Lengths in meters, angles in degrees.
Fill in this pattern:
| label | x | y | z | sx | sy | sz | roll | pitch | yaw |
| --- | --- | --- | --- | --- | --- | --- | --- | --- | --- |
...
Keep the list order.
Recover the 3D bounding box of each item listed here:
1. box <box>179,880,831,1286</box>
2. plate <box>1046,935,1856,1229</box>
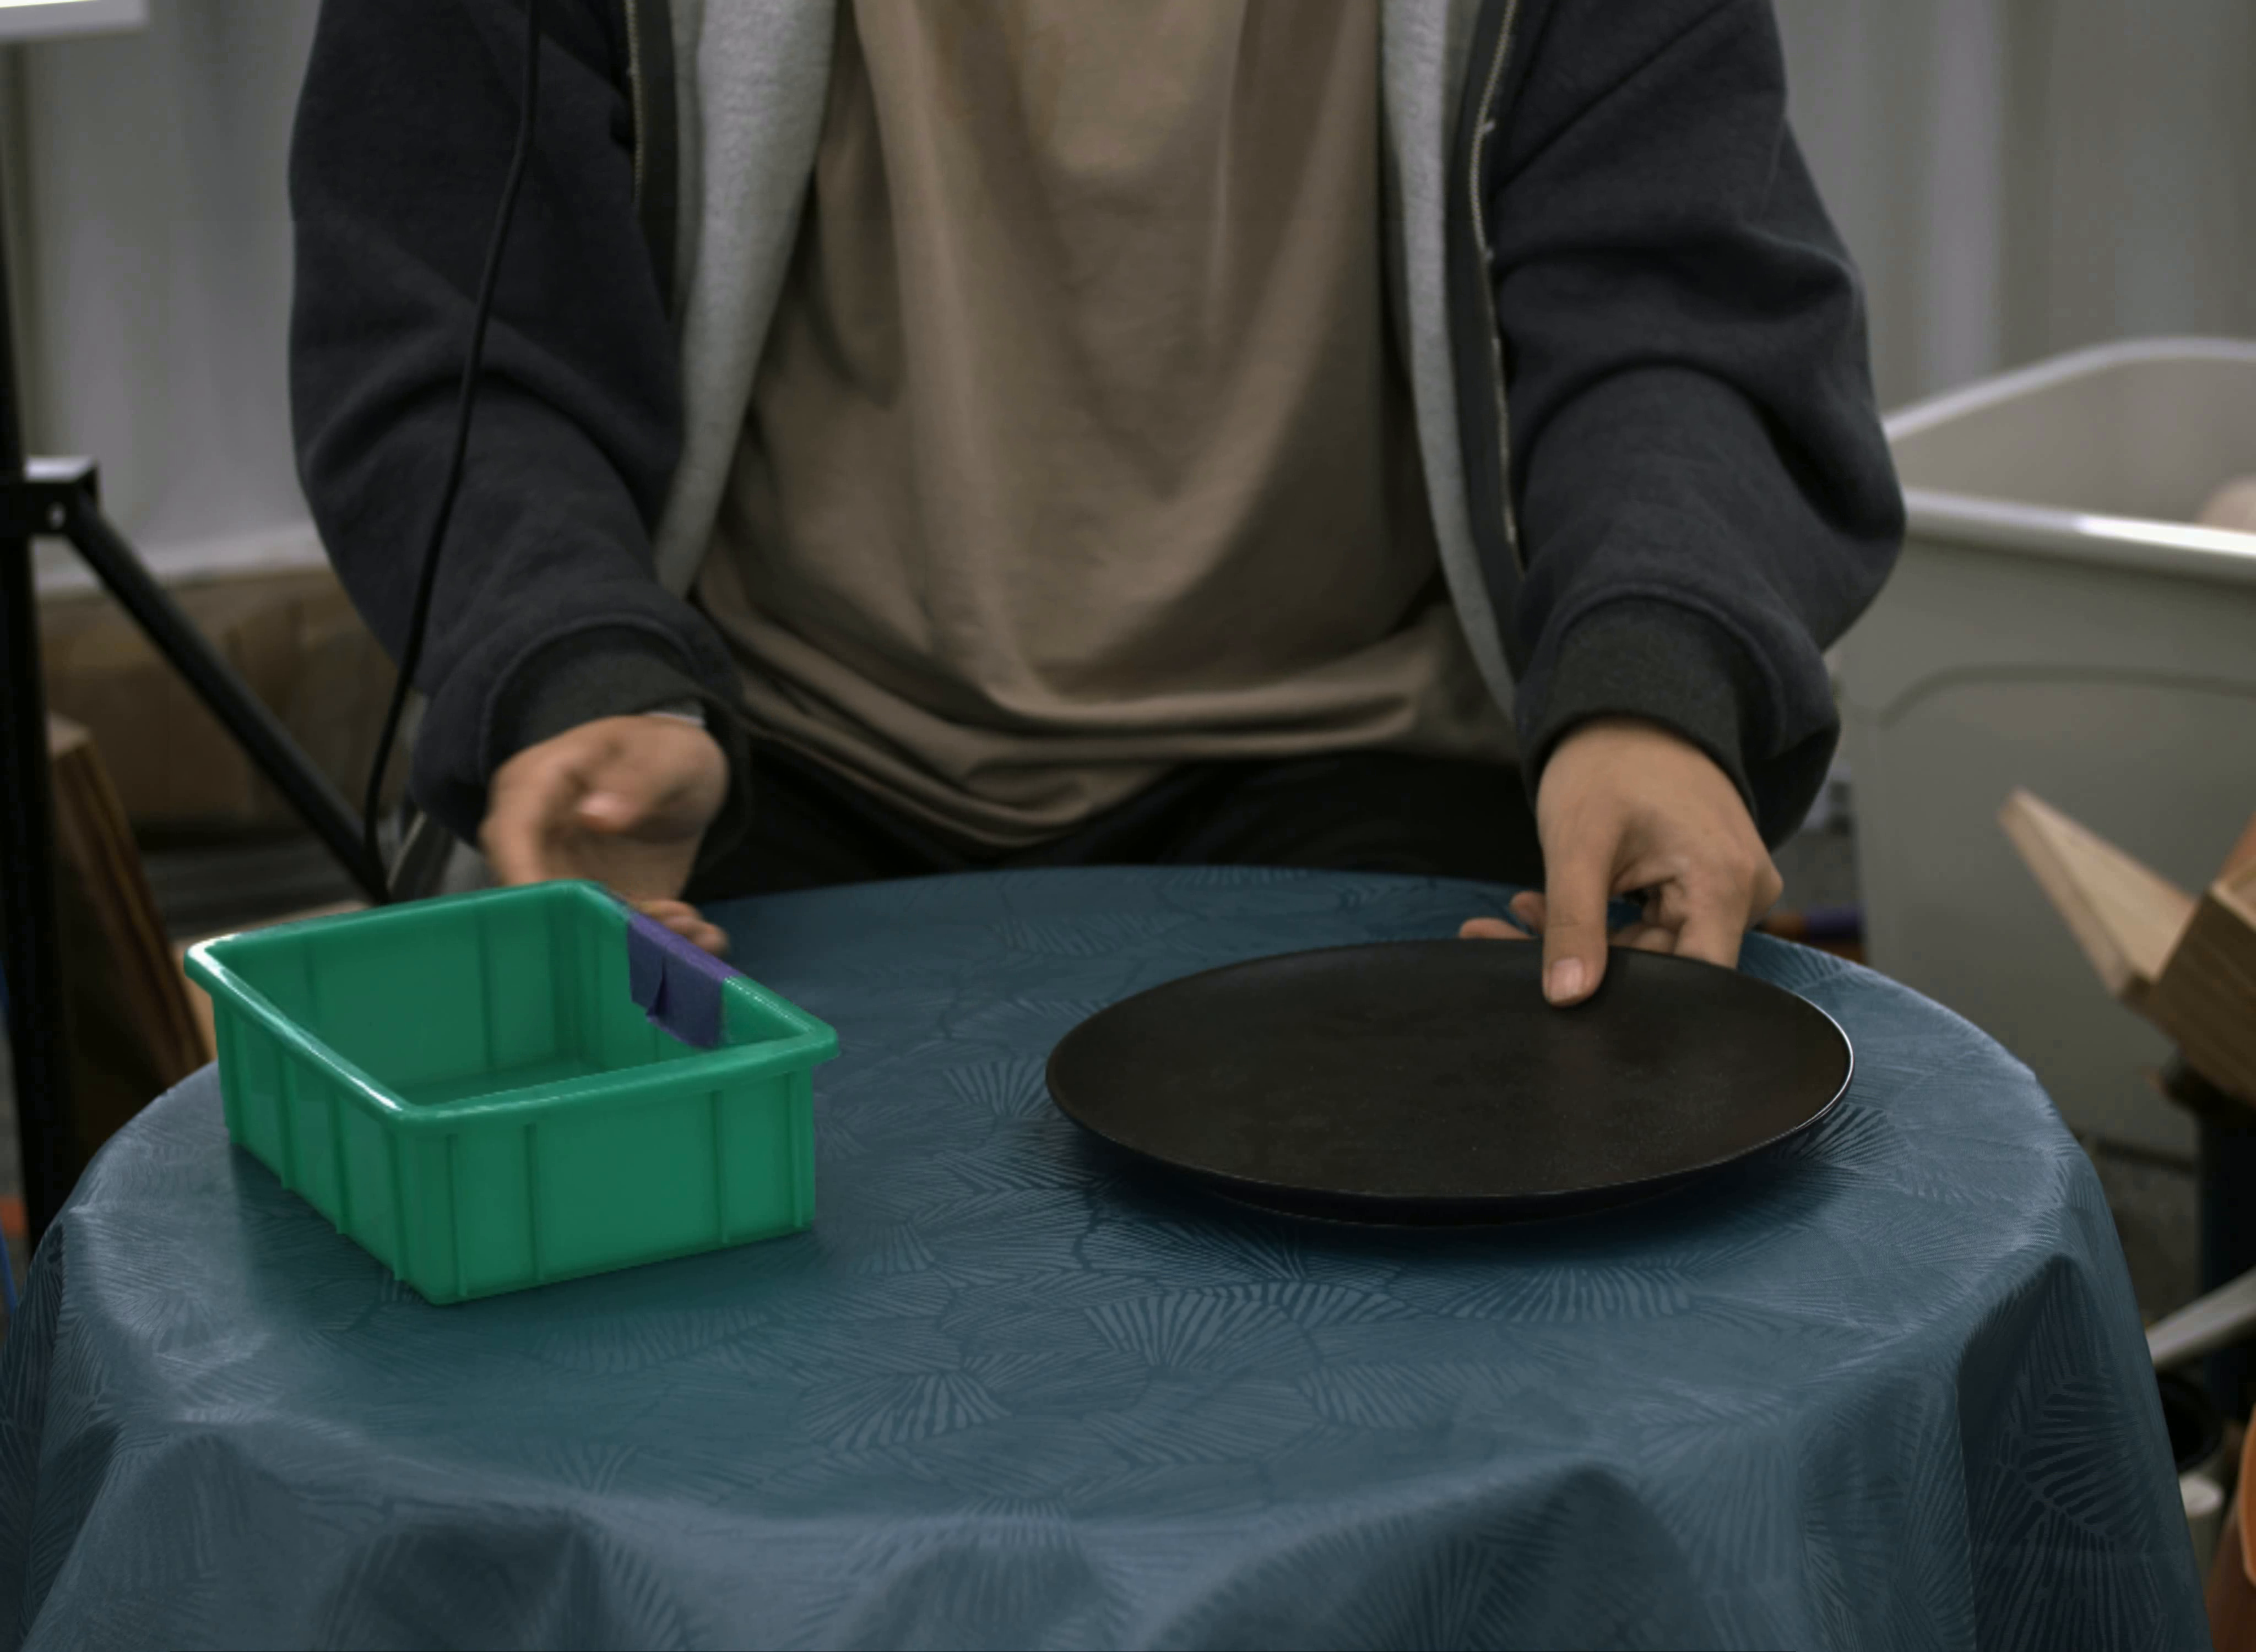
| label | x | y | z | sx | sy | sz | roll | pitch | yaw |
| --- | --- | --- | --- | --- | --- | --- | --- | --- | --- |
| box | -0.187 | 0.075 | 1.592 | 0.135 | 0.065 | 0.215 | -9 | 15 | -27 |
| plate | 0.097 | 0.080 | 1.601 | 0.243 | 0.023 | 0.245 | -3 | 16 | -1 |
